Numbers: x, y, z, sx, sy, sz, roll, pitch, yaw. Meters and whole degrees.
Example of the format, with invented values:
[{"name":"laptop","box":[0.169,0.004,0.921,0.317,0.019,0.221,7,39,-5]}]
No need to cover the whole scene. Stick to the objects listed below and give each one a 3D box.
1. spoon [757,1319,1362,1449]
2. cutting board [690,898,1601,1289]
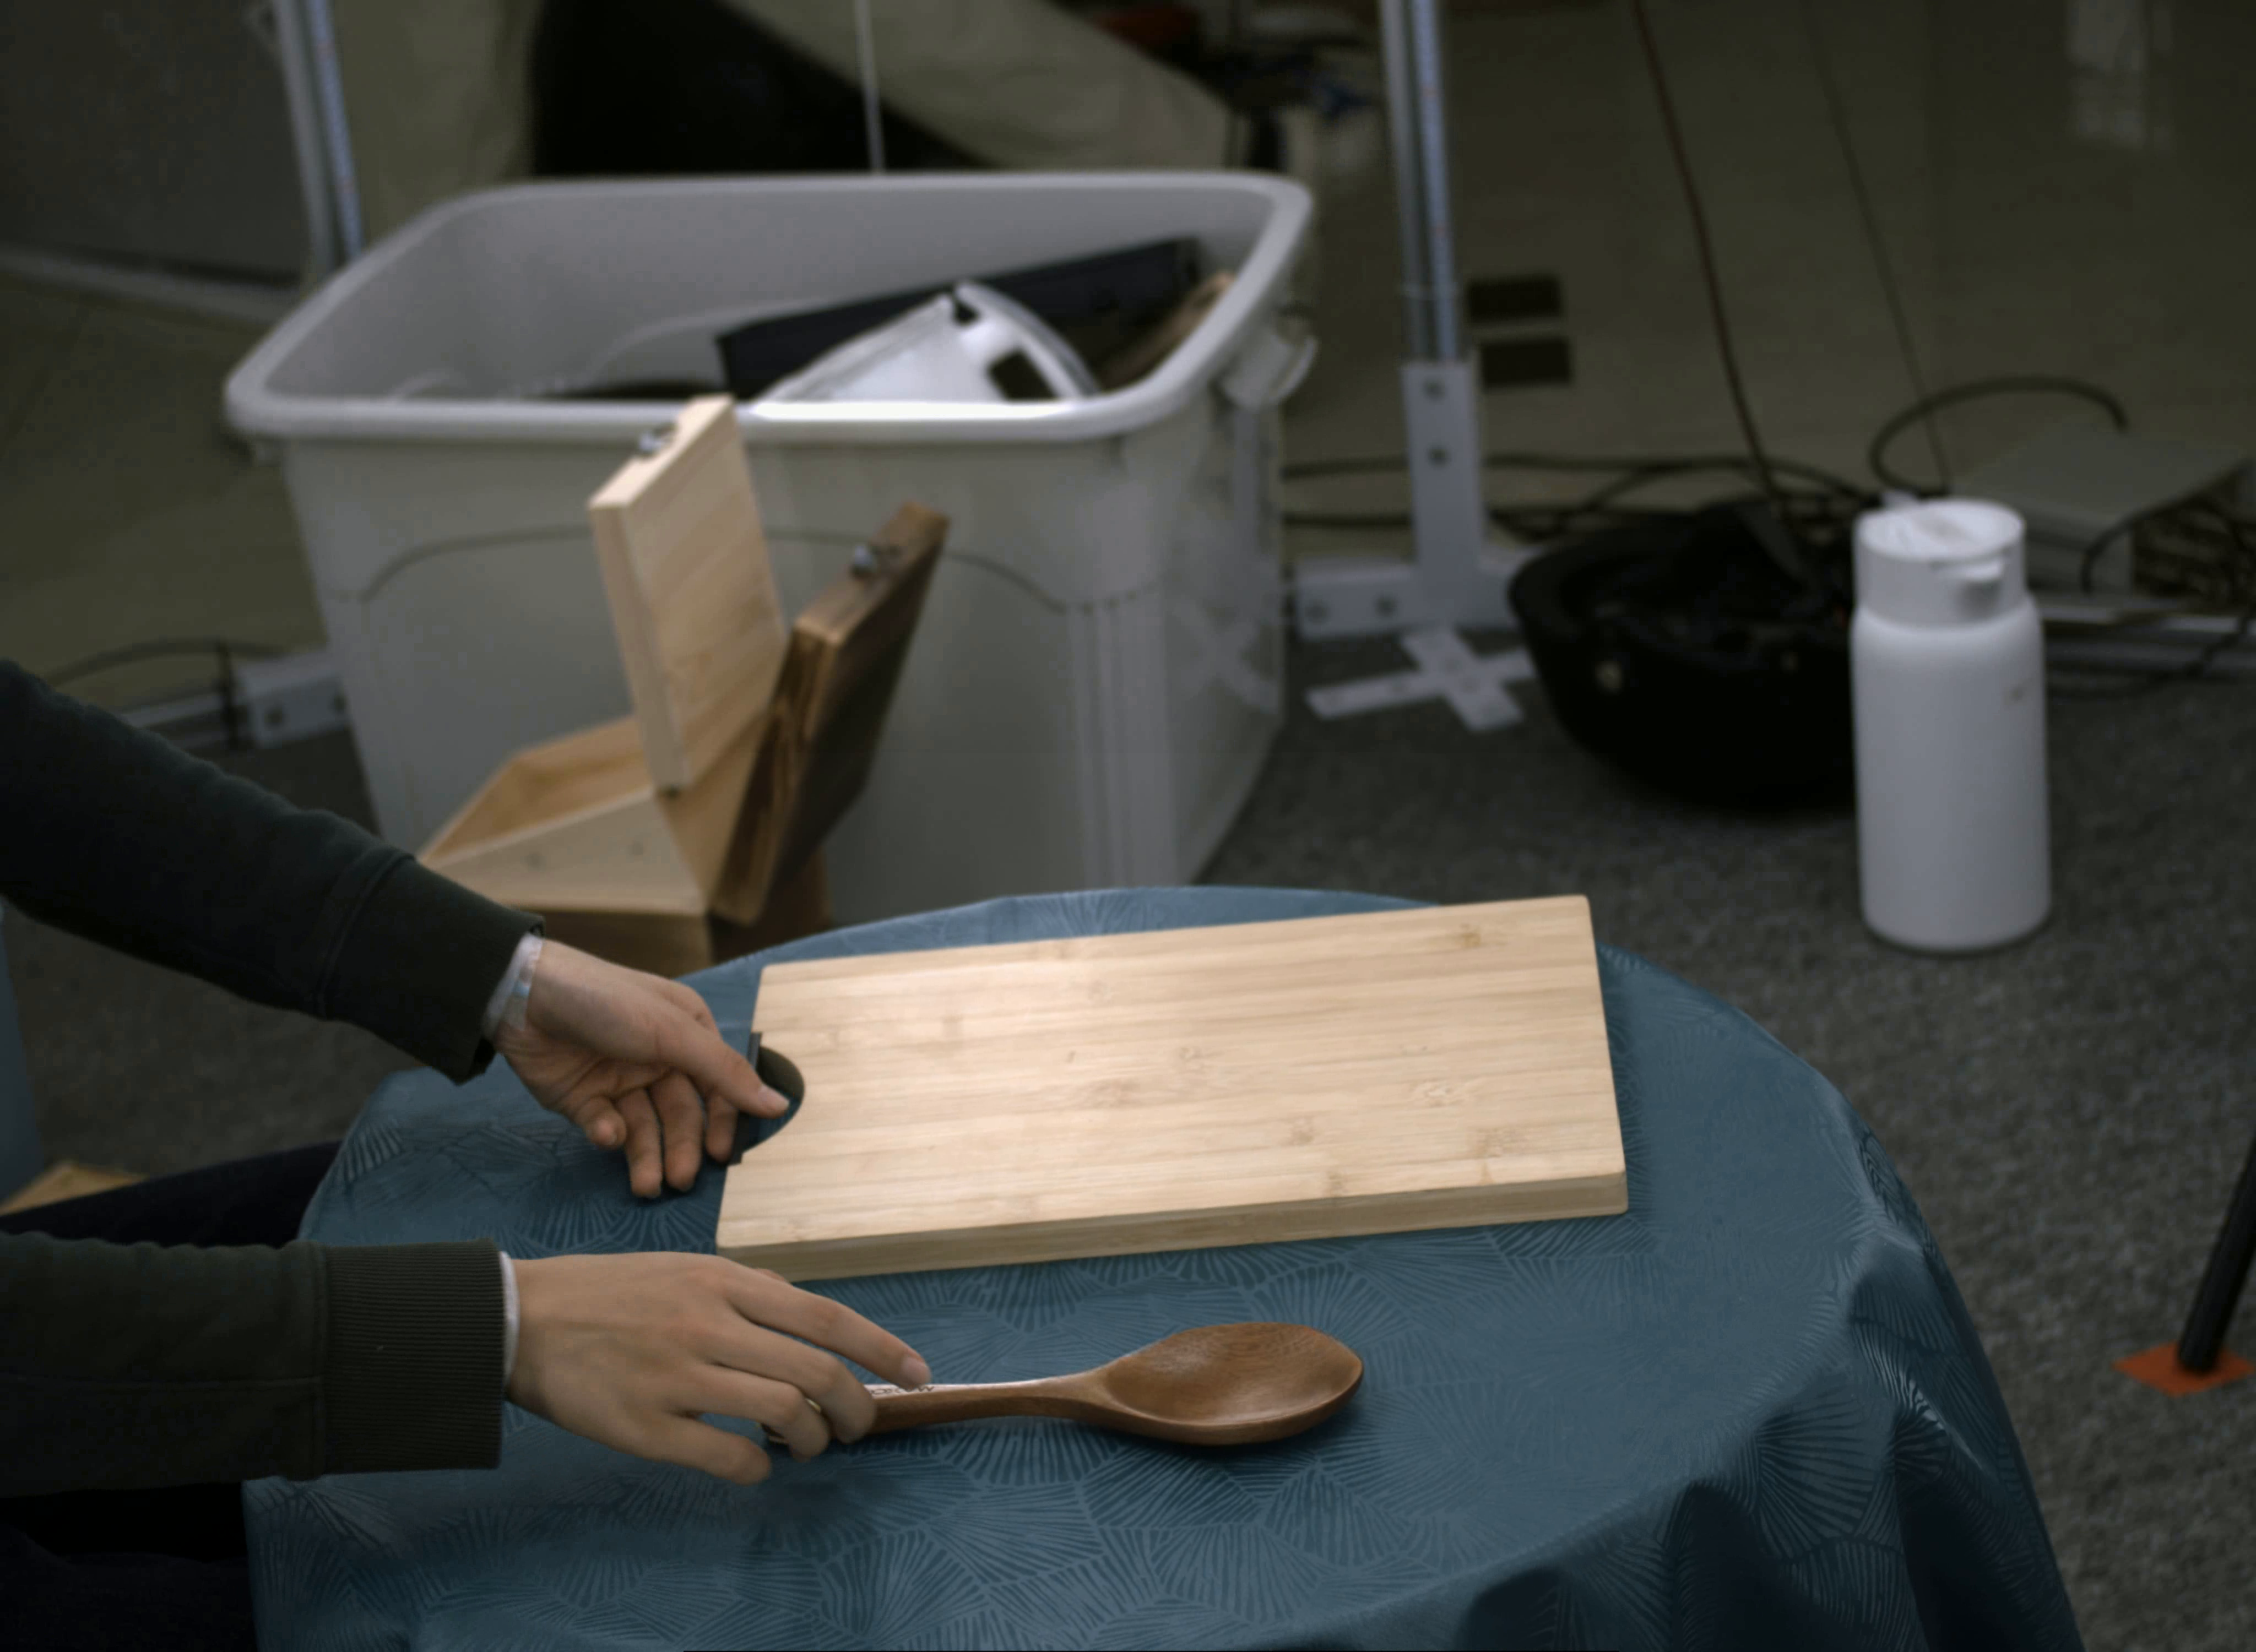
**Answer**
[{"name":"spoon","box":[-0.024,0.202,2.003,0.215,0.017,0.074,-3,27,6]},{"name":"cutting board","box":[0.011,0.102,2.211,0.348,0.024,0.247,-5,24,3]}]
